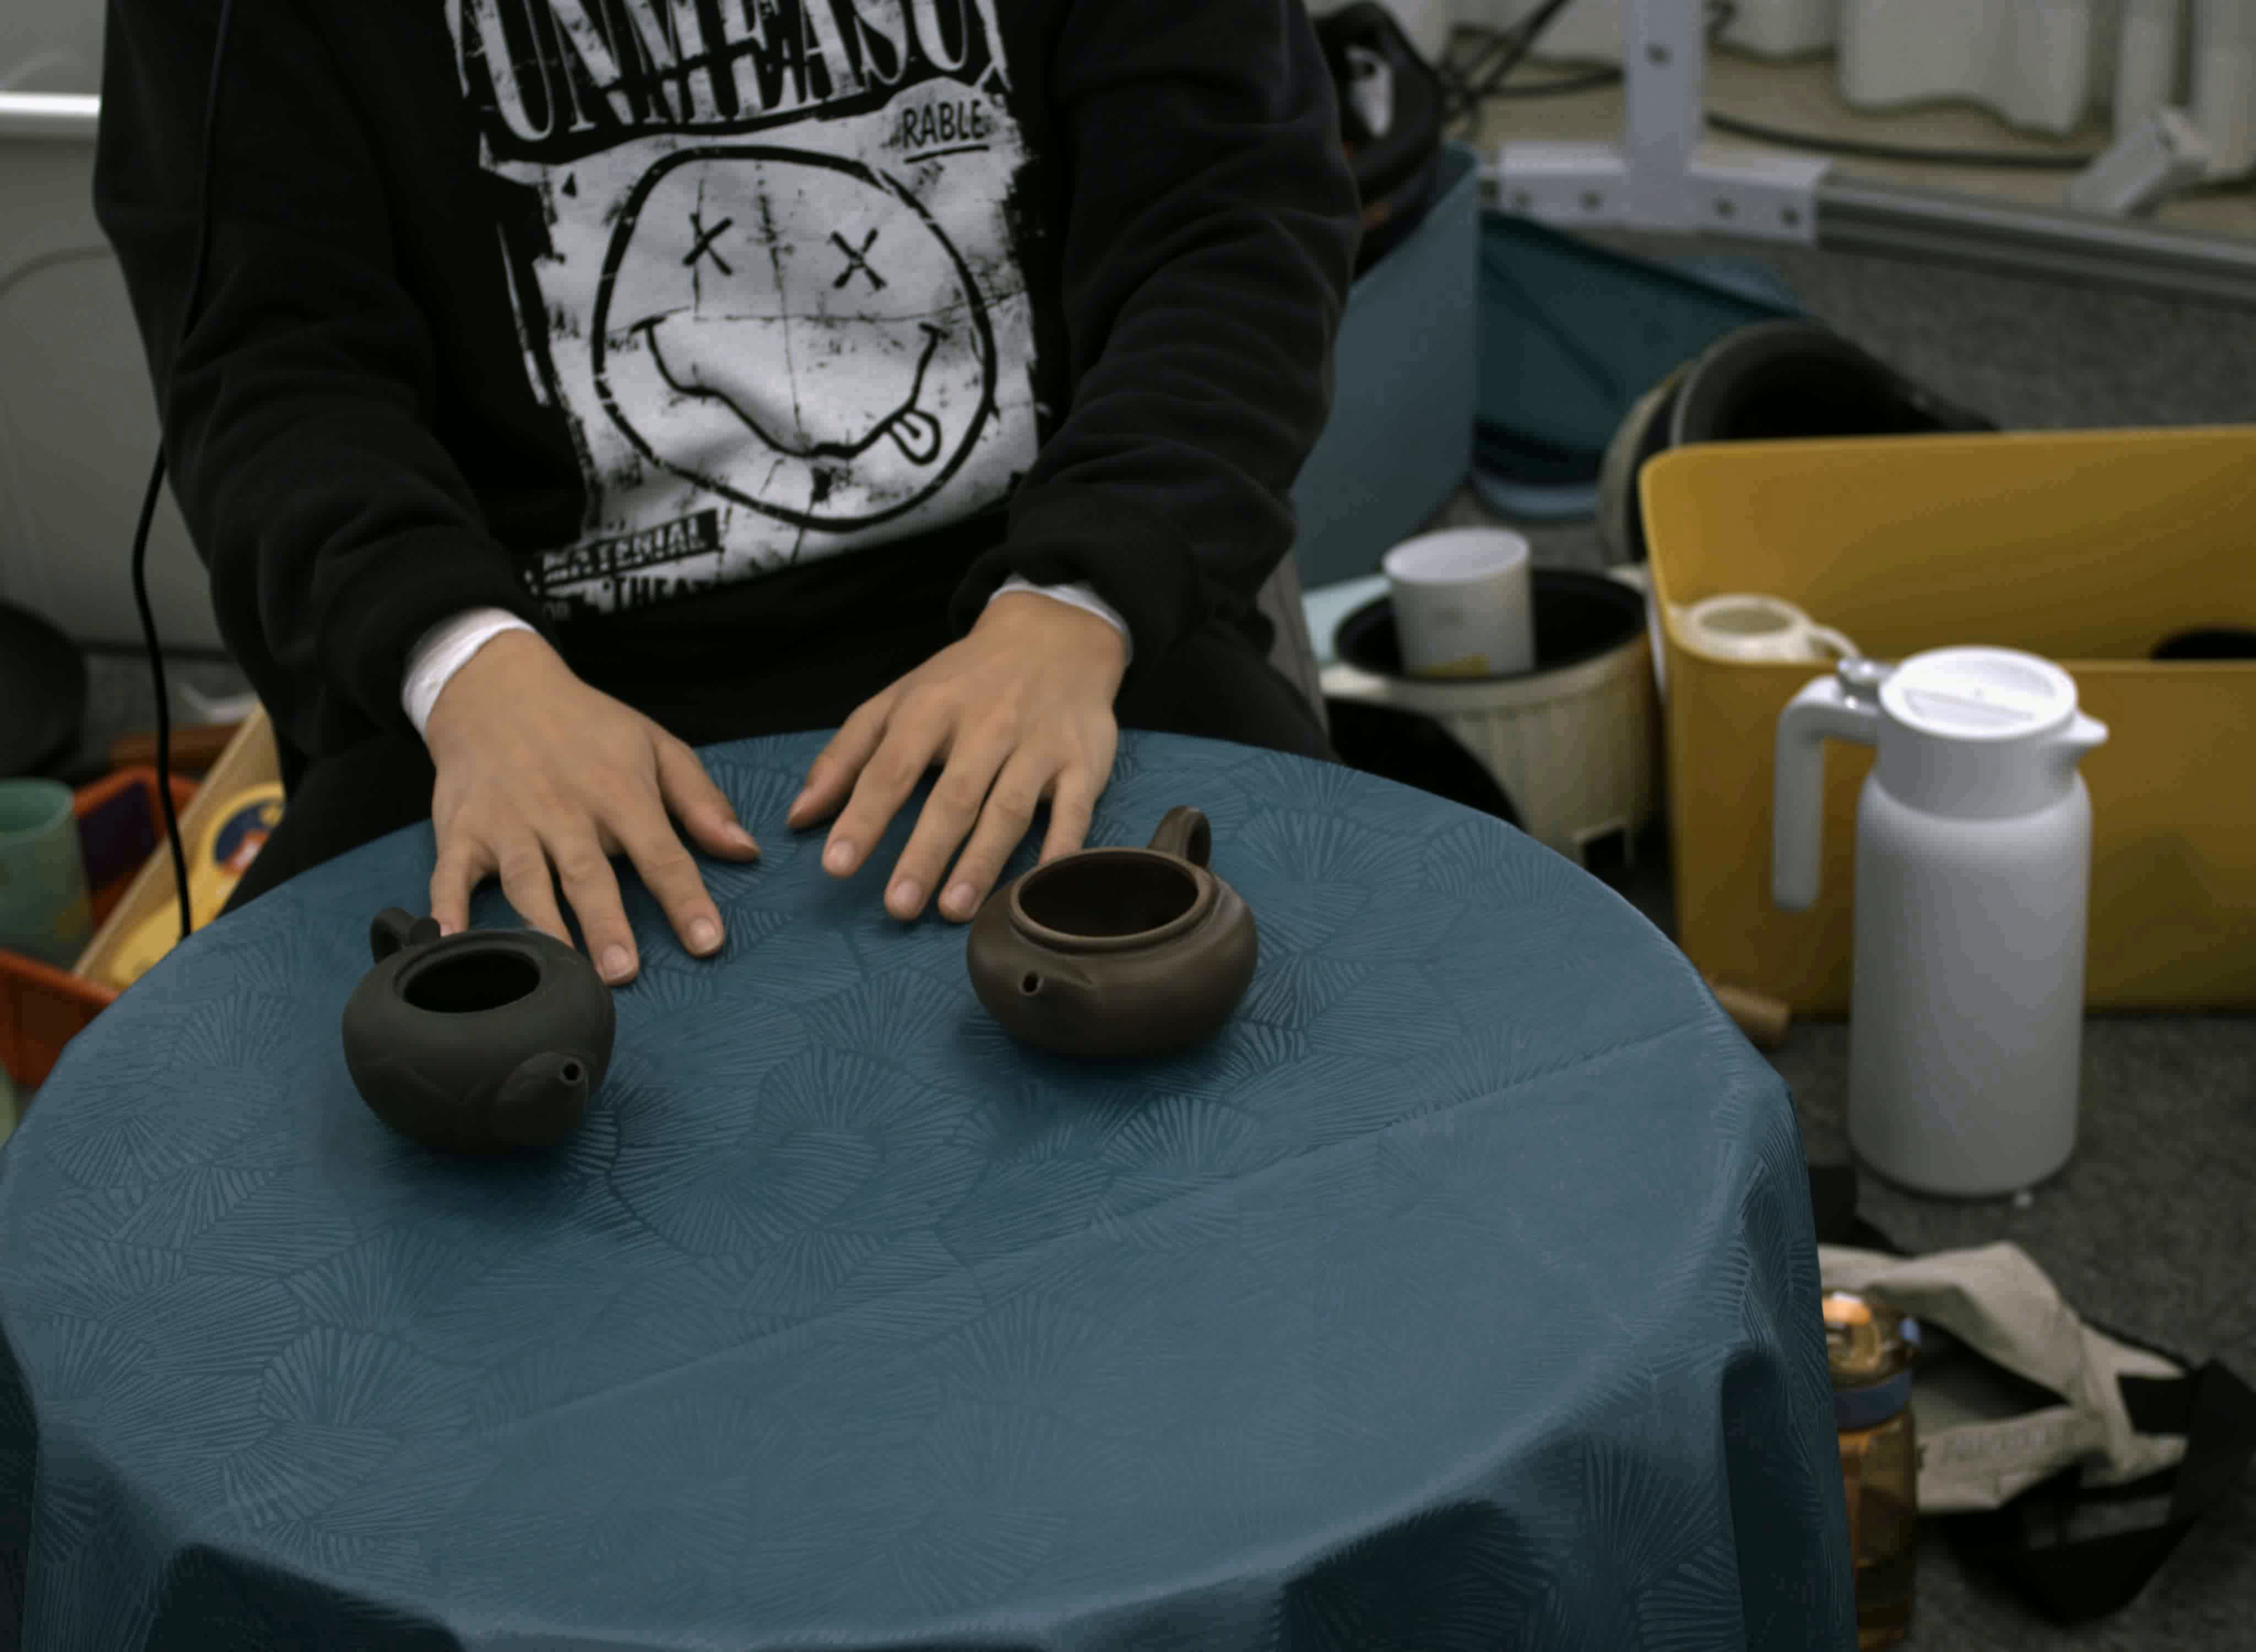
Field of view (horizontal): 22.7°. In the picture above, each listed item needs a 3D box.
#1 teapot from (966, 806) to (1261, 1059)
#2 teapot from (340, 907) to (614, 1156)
[{"bbox_3d":[-0.004,0.040,1.958,0.102,0.053,0.156,7,29,15],"label":"teapot"},{"bbox_3d":[-0.222,0.072,1.908,0.093,0.064,0.155,-16,30,-28],"label":"teapot"}]
